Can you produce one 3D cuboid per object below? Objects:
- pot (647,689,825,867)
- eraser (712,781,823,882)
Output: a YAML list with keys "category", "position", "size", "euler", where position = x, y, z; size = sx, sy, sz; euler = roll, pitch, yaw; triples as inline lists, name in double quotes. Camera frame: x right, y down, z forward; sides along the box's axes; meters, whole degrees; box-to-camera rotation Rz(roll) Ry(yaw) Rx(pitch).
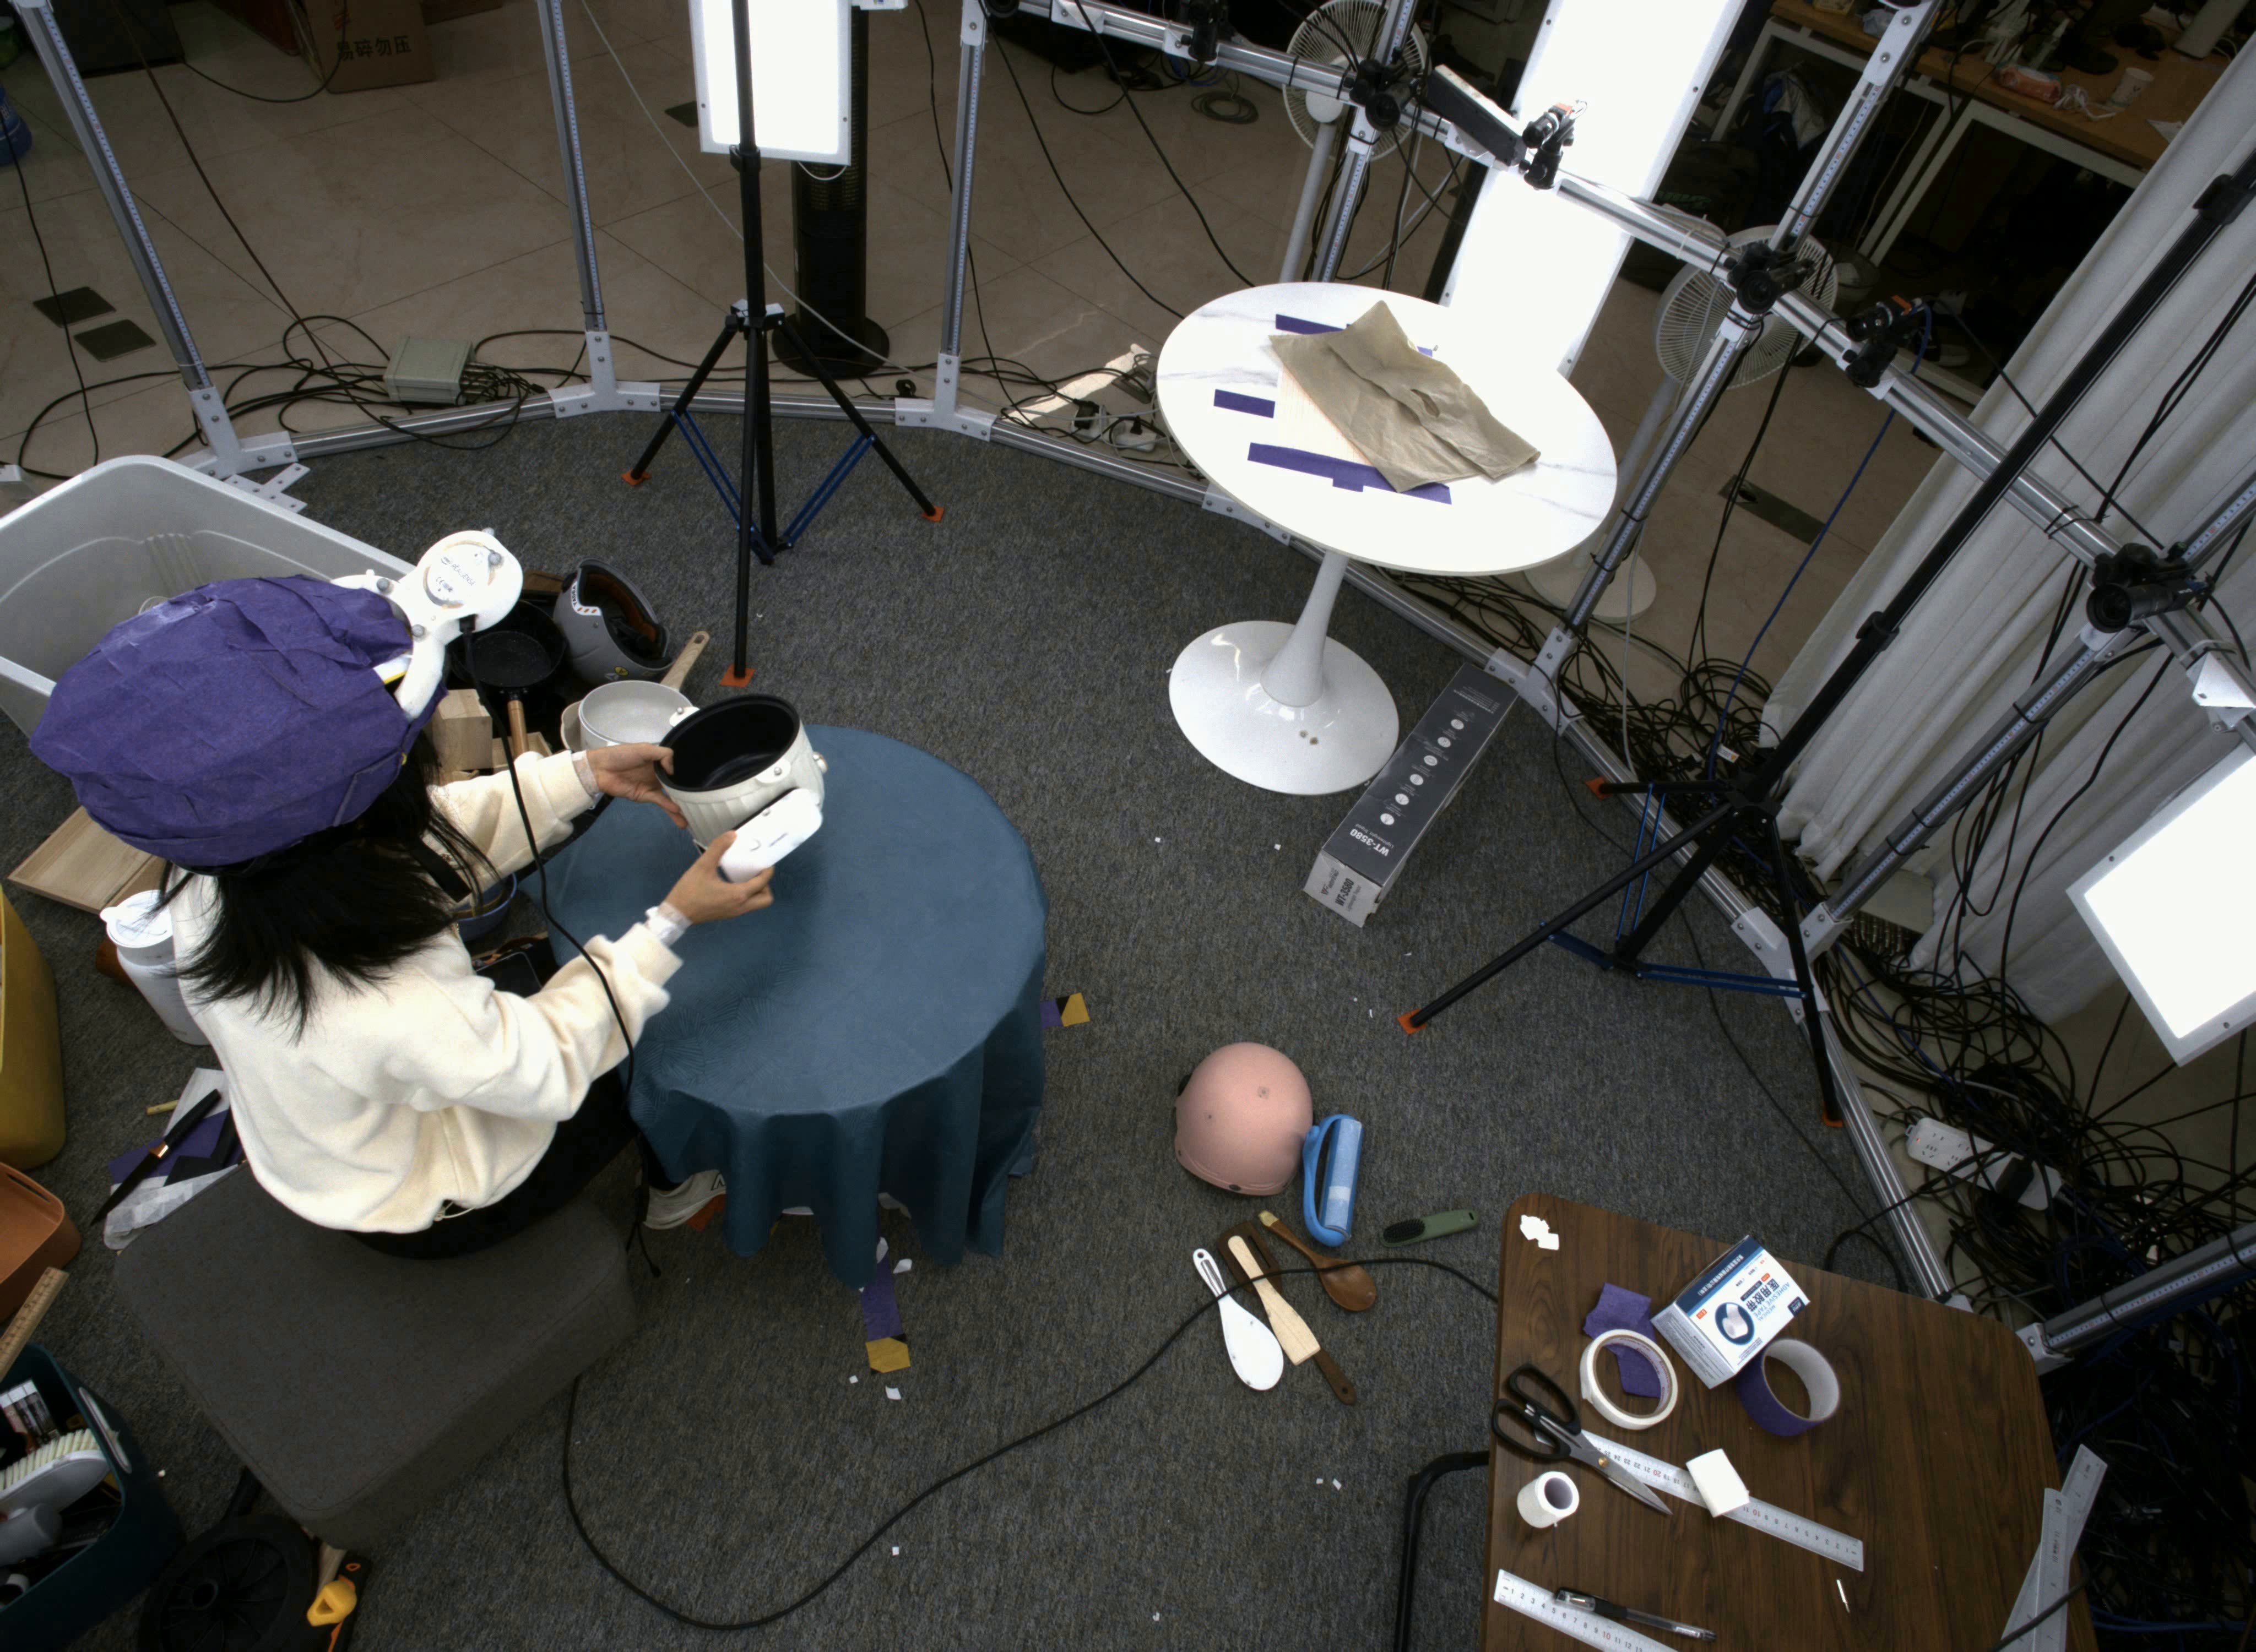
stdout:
- category: "pot"
  position: [-0.465, -0.060, 1.571]
  size: [0.231, 0.148, 0.190]
  euler: [26, 58, 34]
- category: "eraser"
  position: [-0.418, 0.003, 1.501]
  size: [0.131, 0.066, 0.033]
  euler: [-40, 48, -21]
